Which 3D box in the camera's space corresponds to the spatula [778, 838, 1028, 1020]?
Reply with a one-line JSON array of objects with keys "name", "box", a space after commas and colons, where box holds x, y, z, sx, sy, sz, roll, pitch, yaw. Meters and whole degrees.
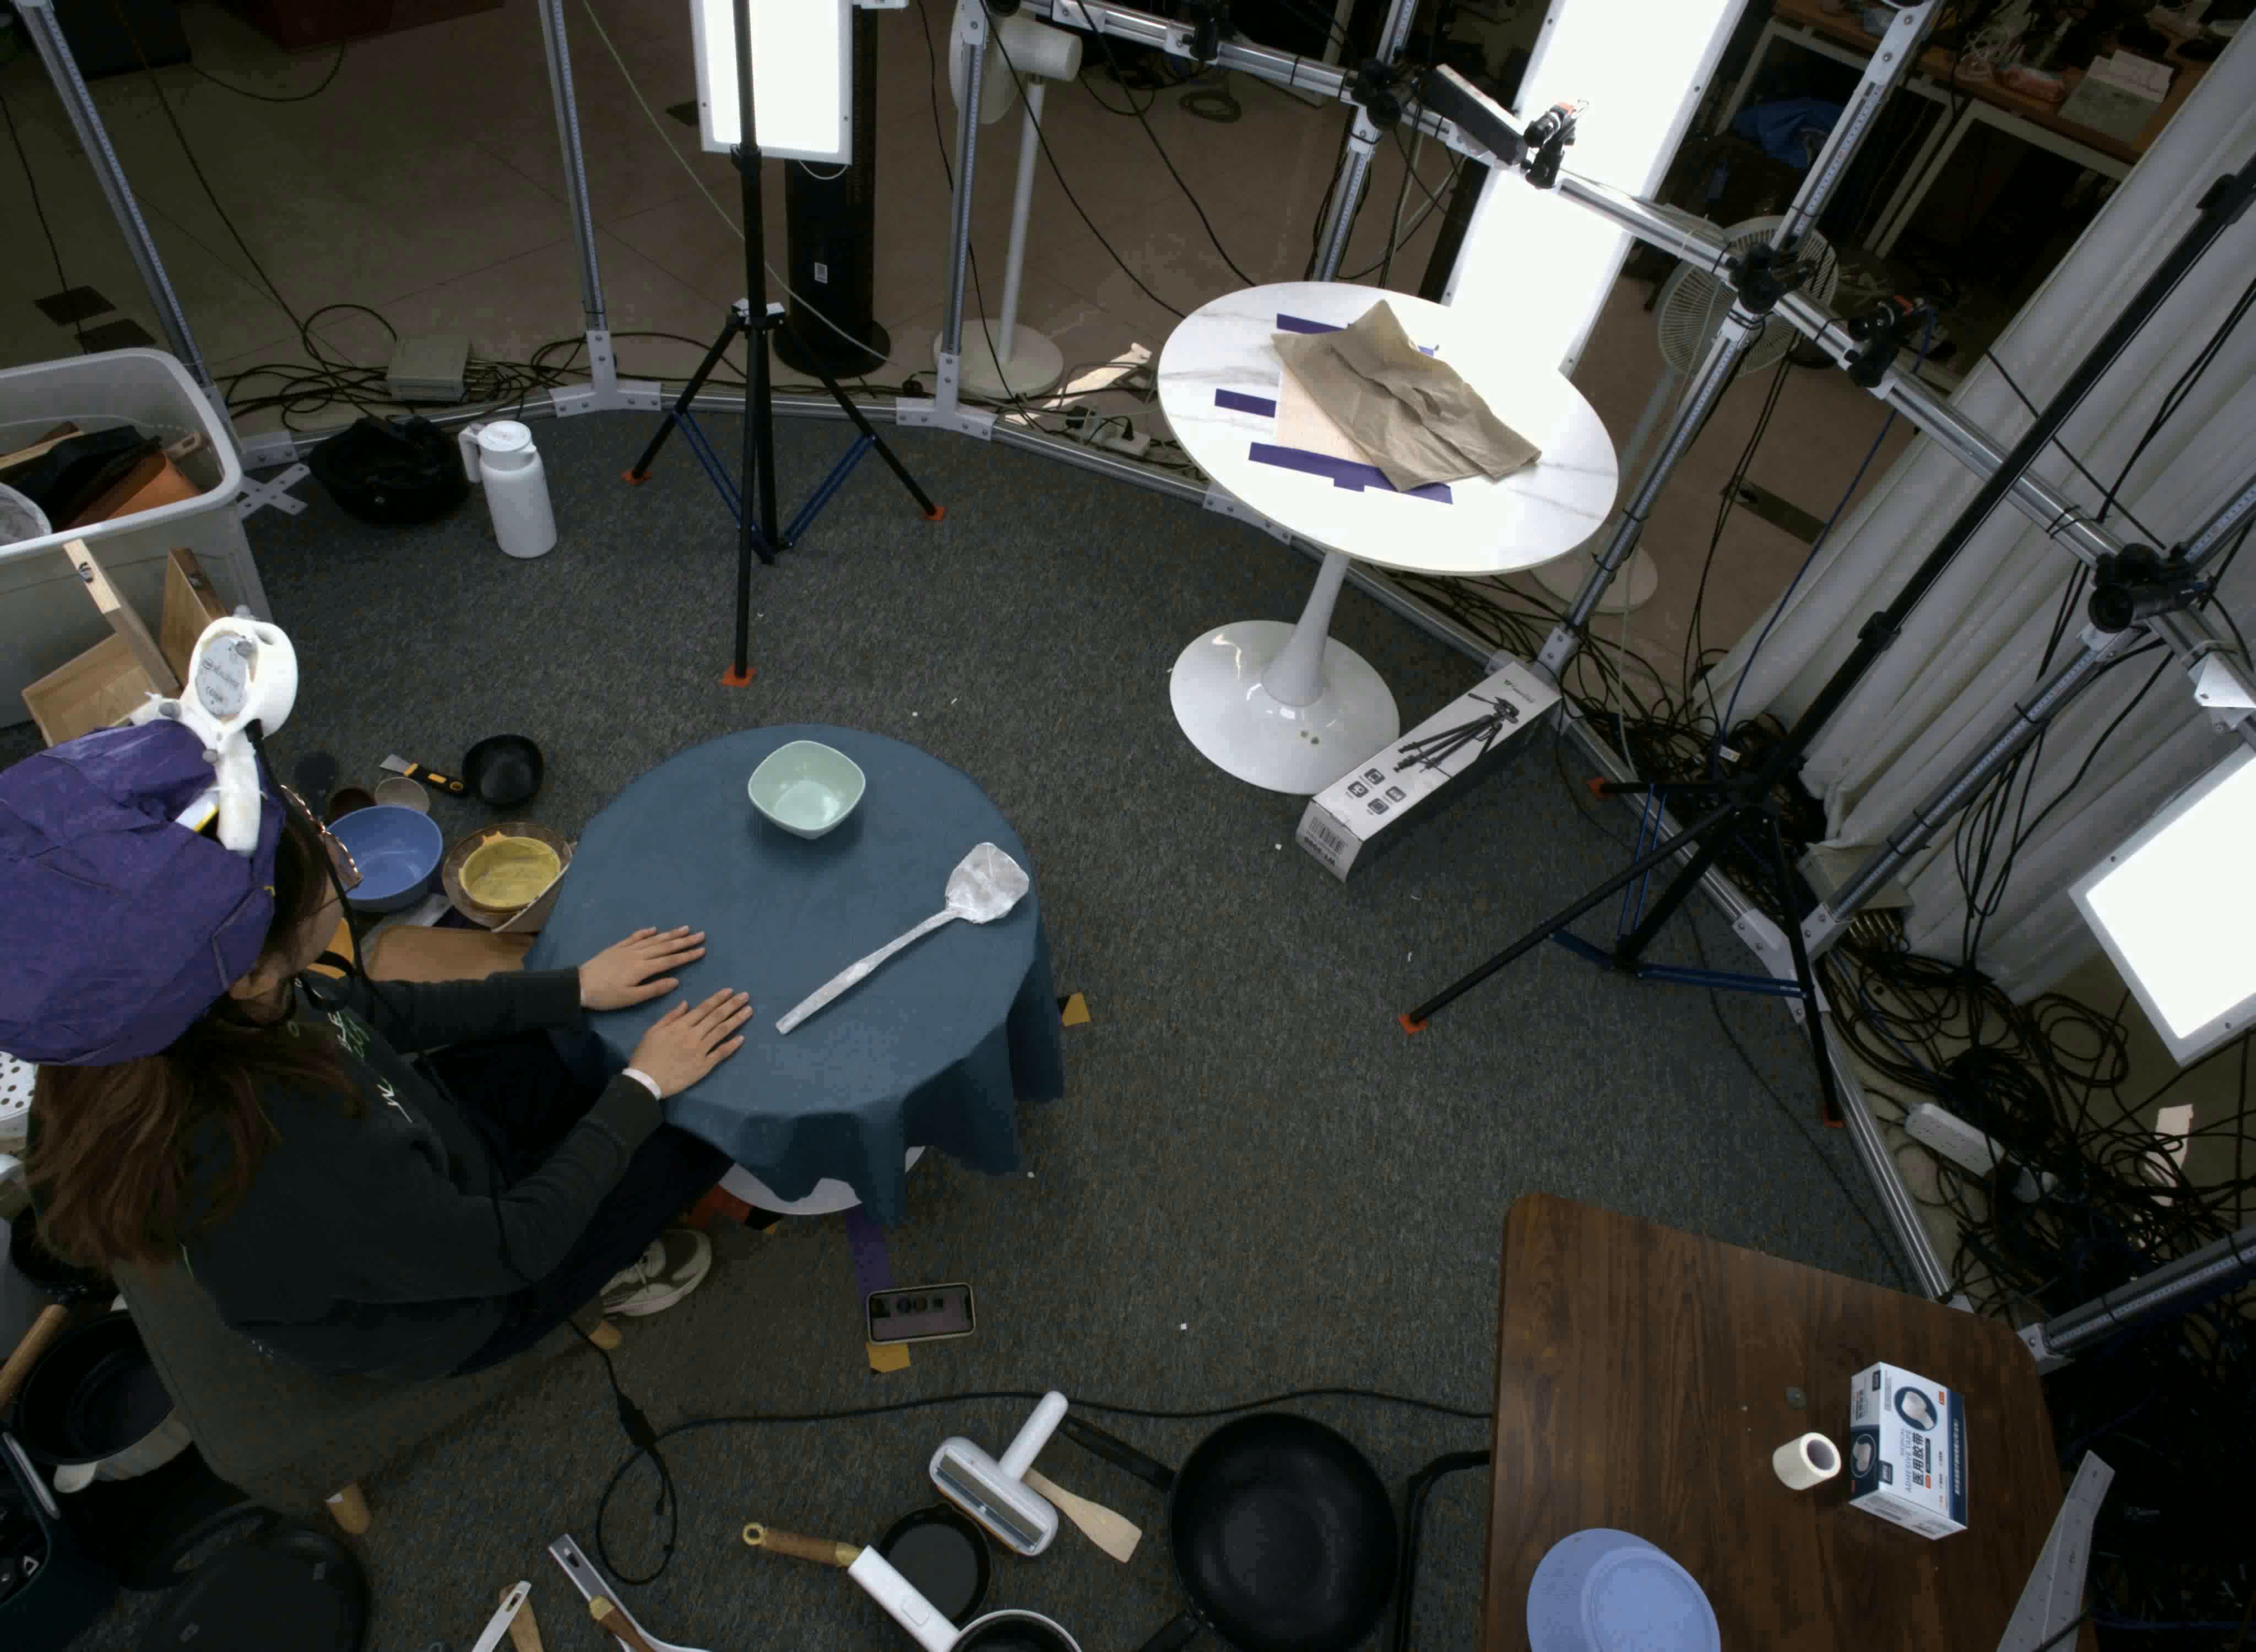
[{"name": "spatula", "box": [-0.284, 0.136, 1.639, 0.366, 0.045, 0.096, -34, 69, -32]}]

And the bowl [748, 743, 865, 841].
[{"name": "bowl", "box": [-0.424, -0.037, 1.721, 0.151, 0.060, 0.148, 7, 51, -6]}]
